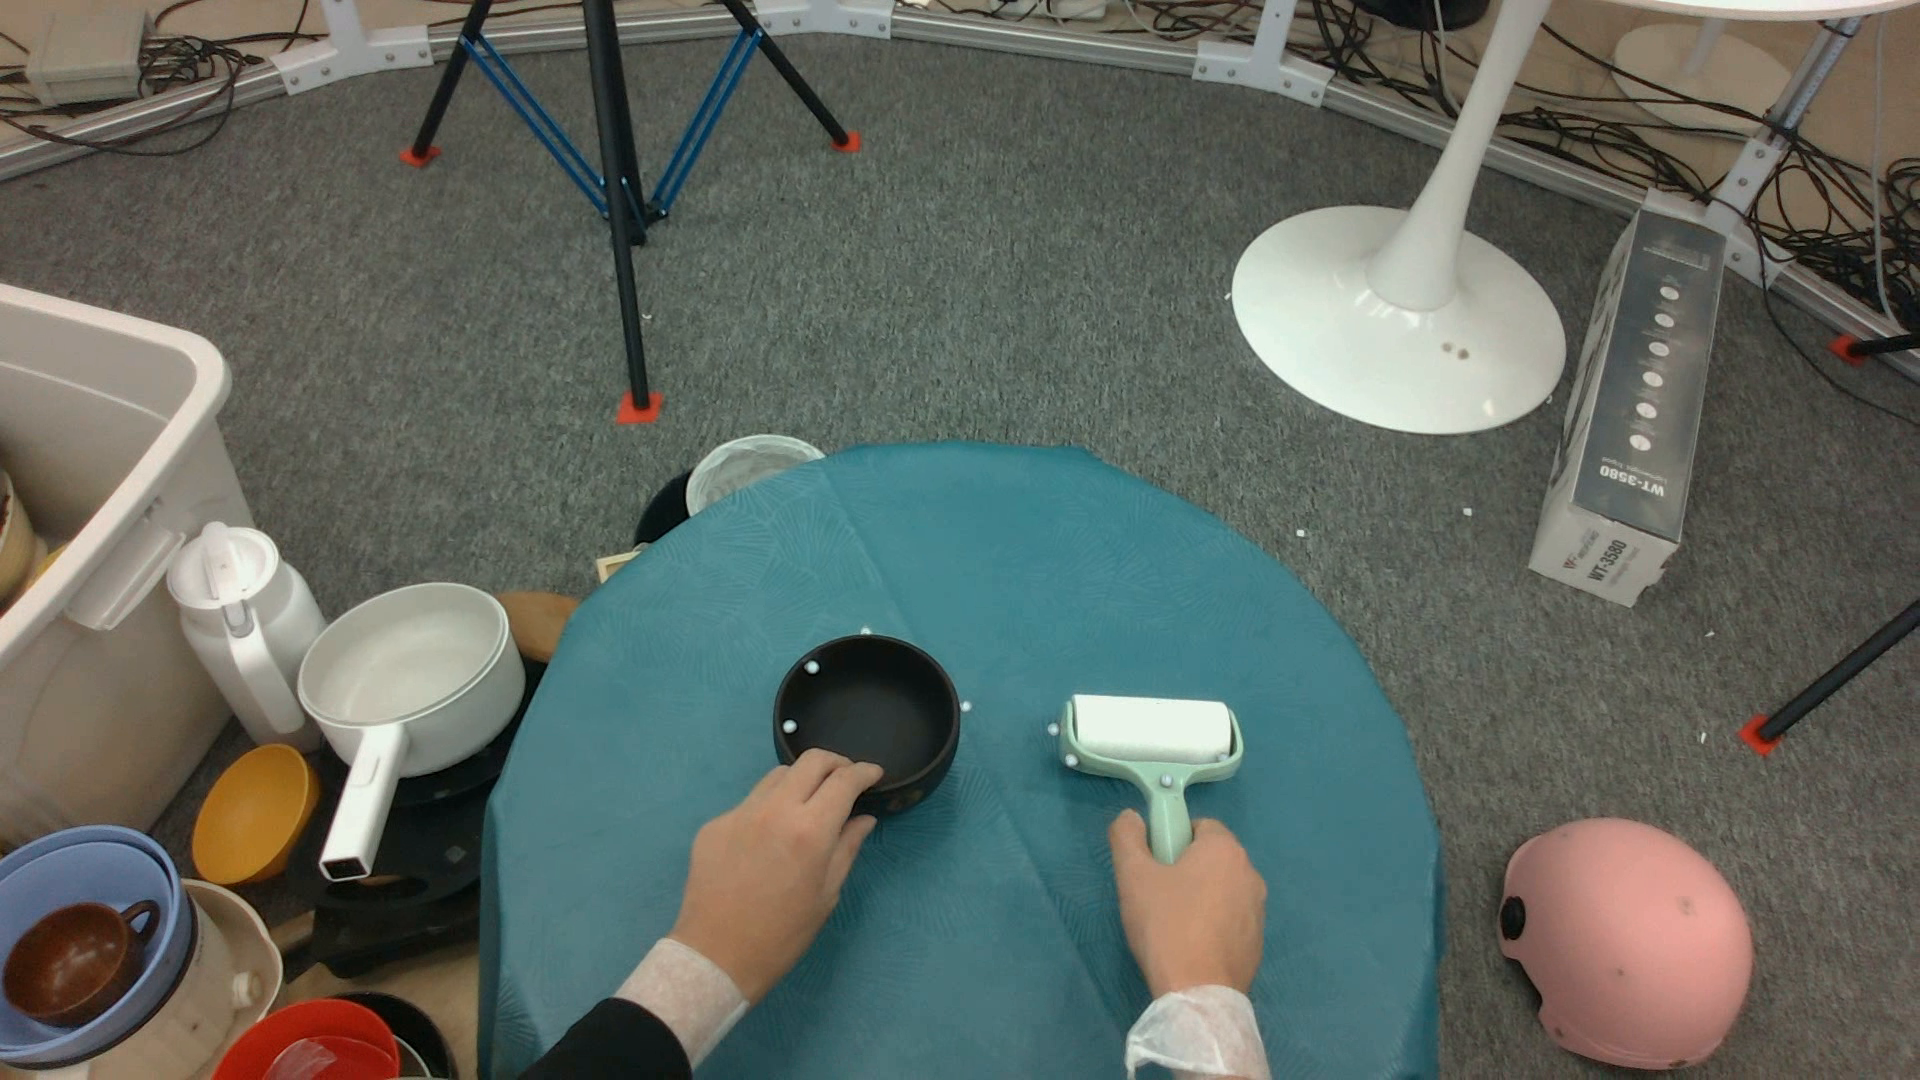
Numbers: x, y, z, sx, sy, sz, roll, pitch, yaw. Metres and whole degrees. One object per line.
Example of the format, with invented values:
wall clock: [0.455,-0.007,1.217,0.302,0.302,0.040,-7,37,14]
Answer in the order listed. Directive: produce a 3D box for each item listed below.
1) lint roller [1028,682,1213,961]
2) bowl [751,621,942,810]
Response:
lint roller: [0.105,0.163,0.842,0.117,0.048,0.198,4,37,-5]
bowl: [-0.072,0.117,0.869,0.118,0.069,0.118,3,53,-4]
